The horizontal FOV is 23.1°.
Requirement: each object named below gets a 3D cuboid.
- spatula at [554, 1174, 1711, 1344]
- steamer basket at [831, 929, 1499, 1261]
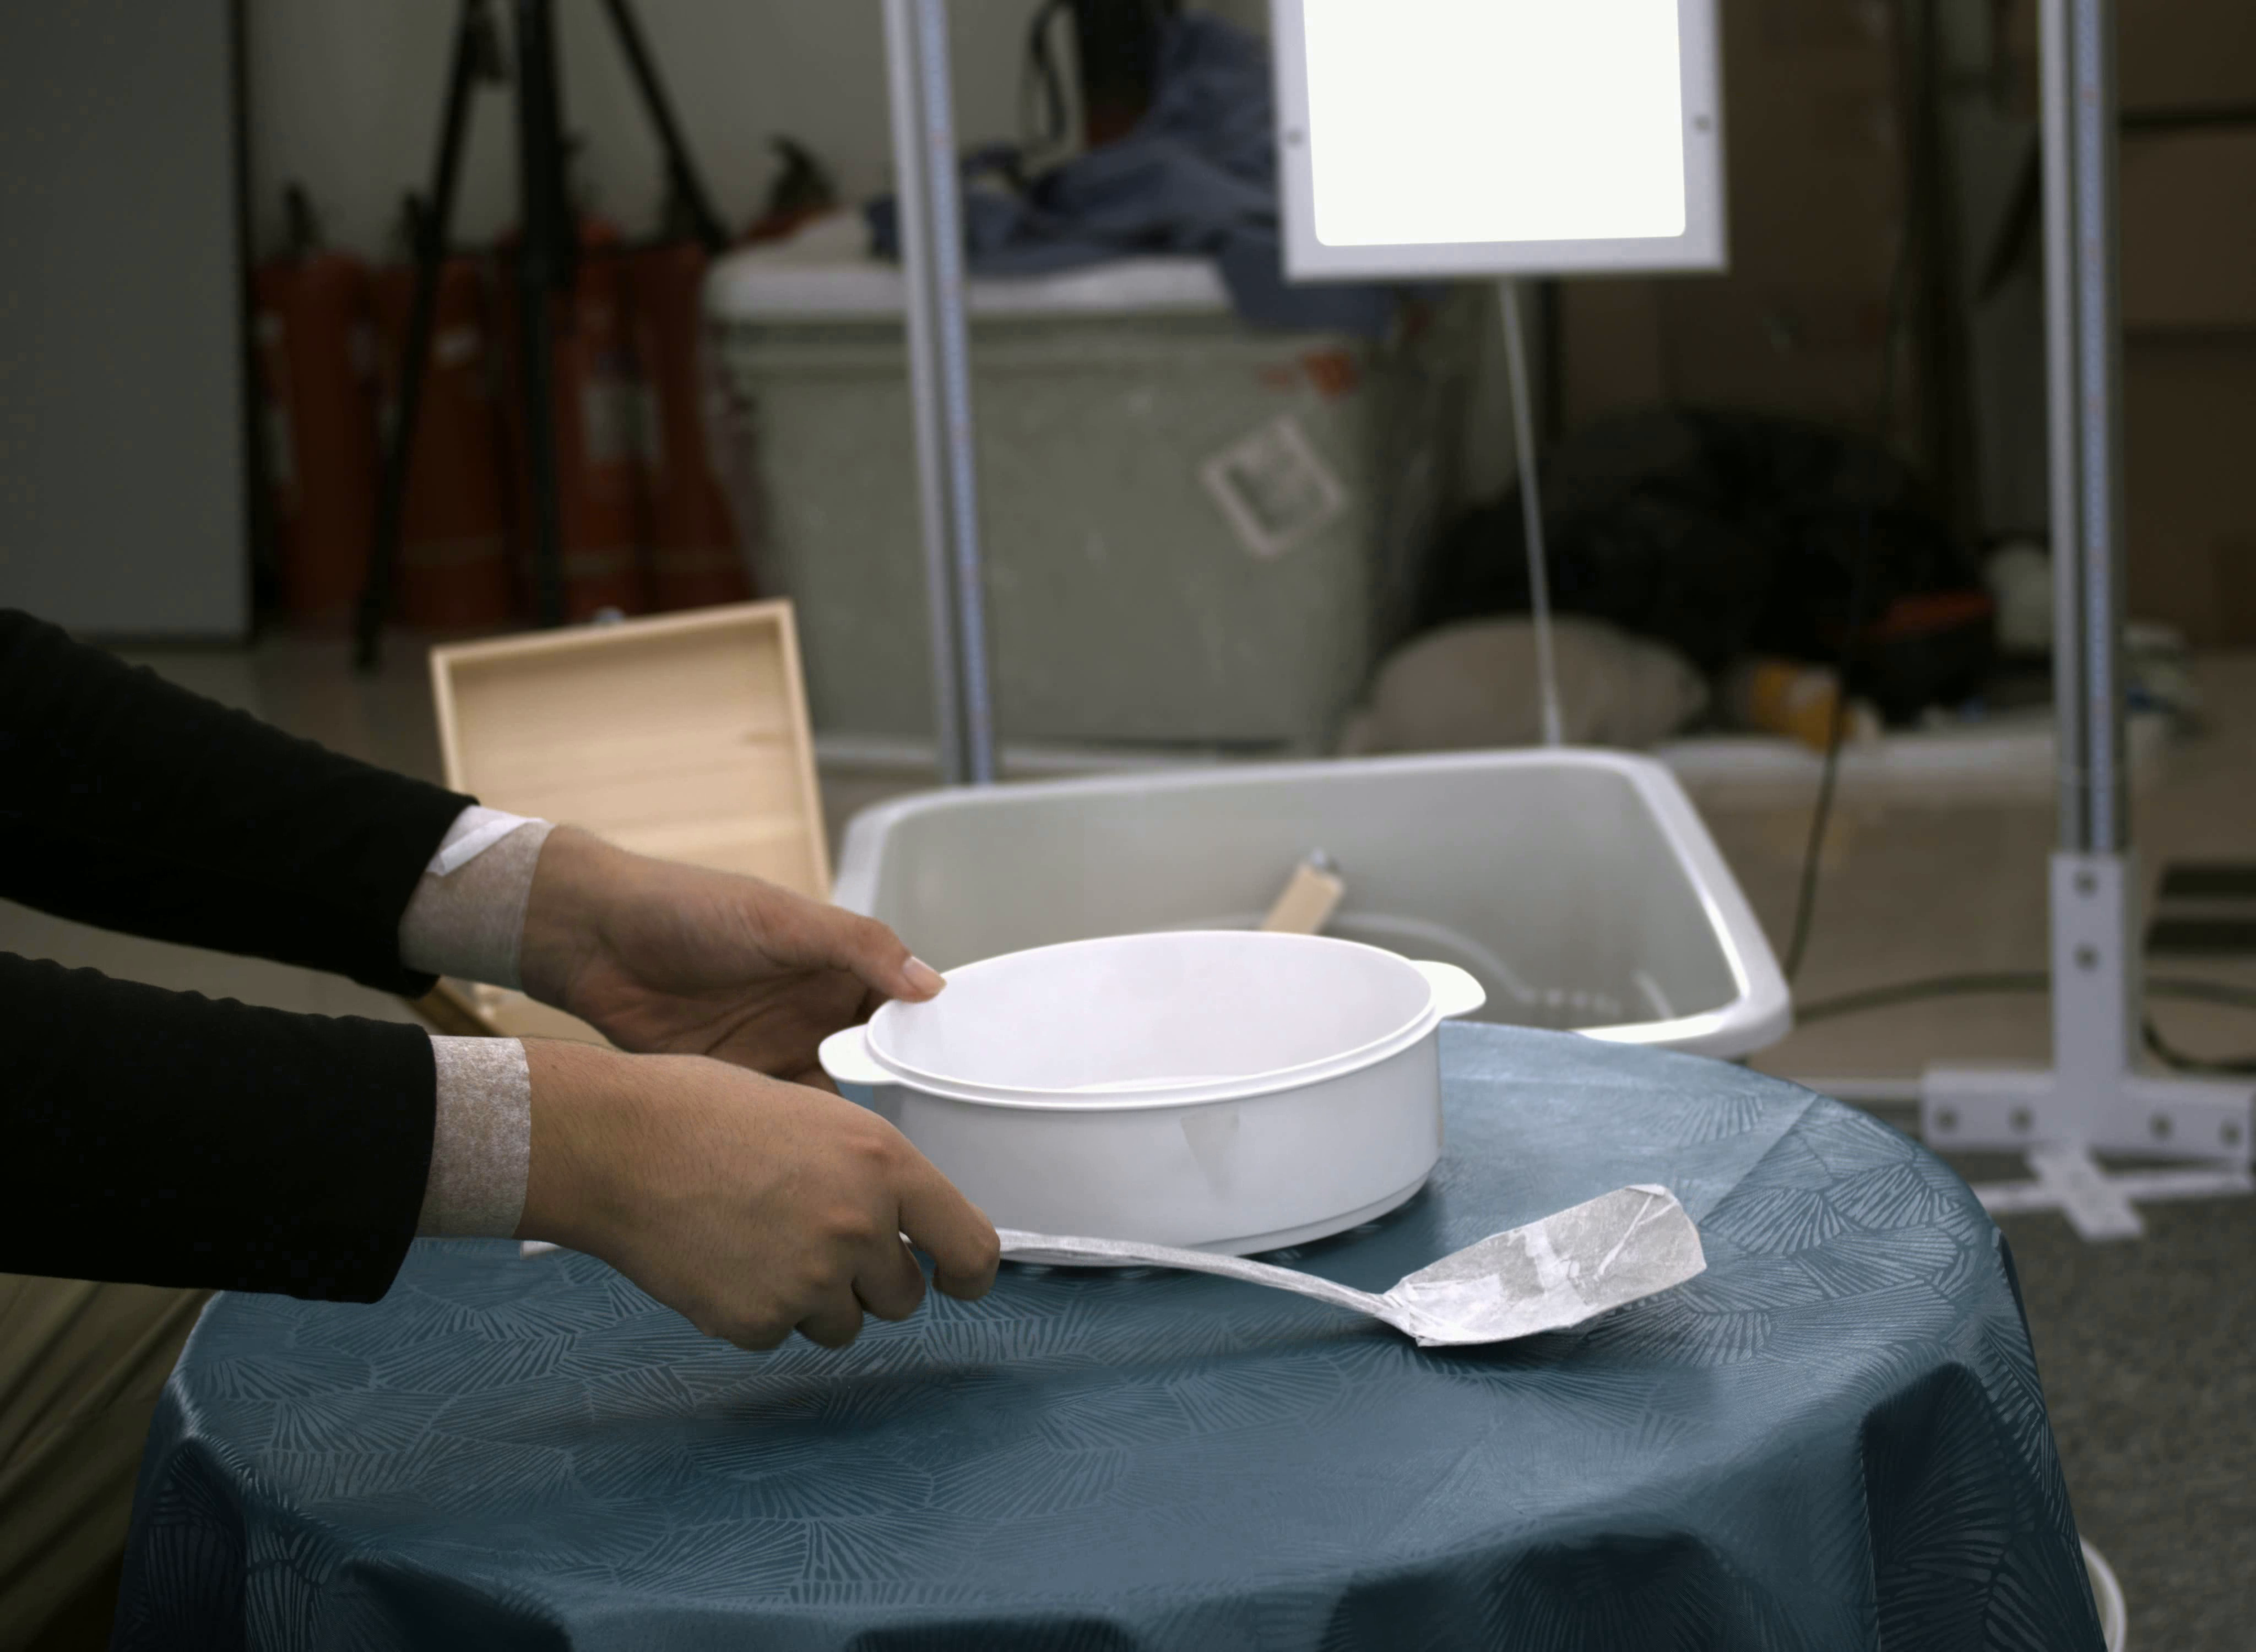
[{"bbox_3d":[0.000,0.131,1.733,0.364,0.045,0.098,4,17,0],"label":"spatula"},{"bbox_3d":[0.015,0.092,1.886,0.229,0.069,0.202,-7,13,-6],"label":"steamer basket"}]
